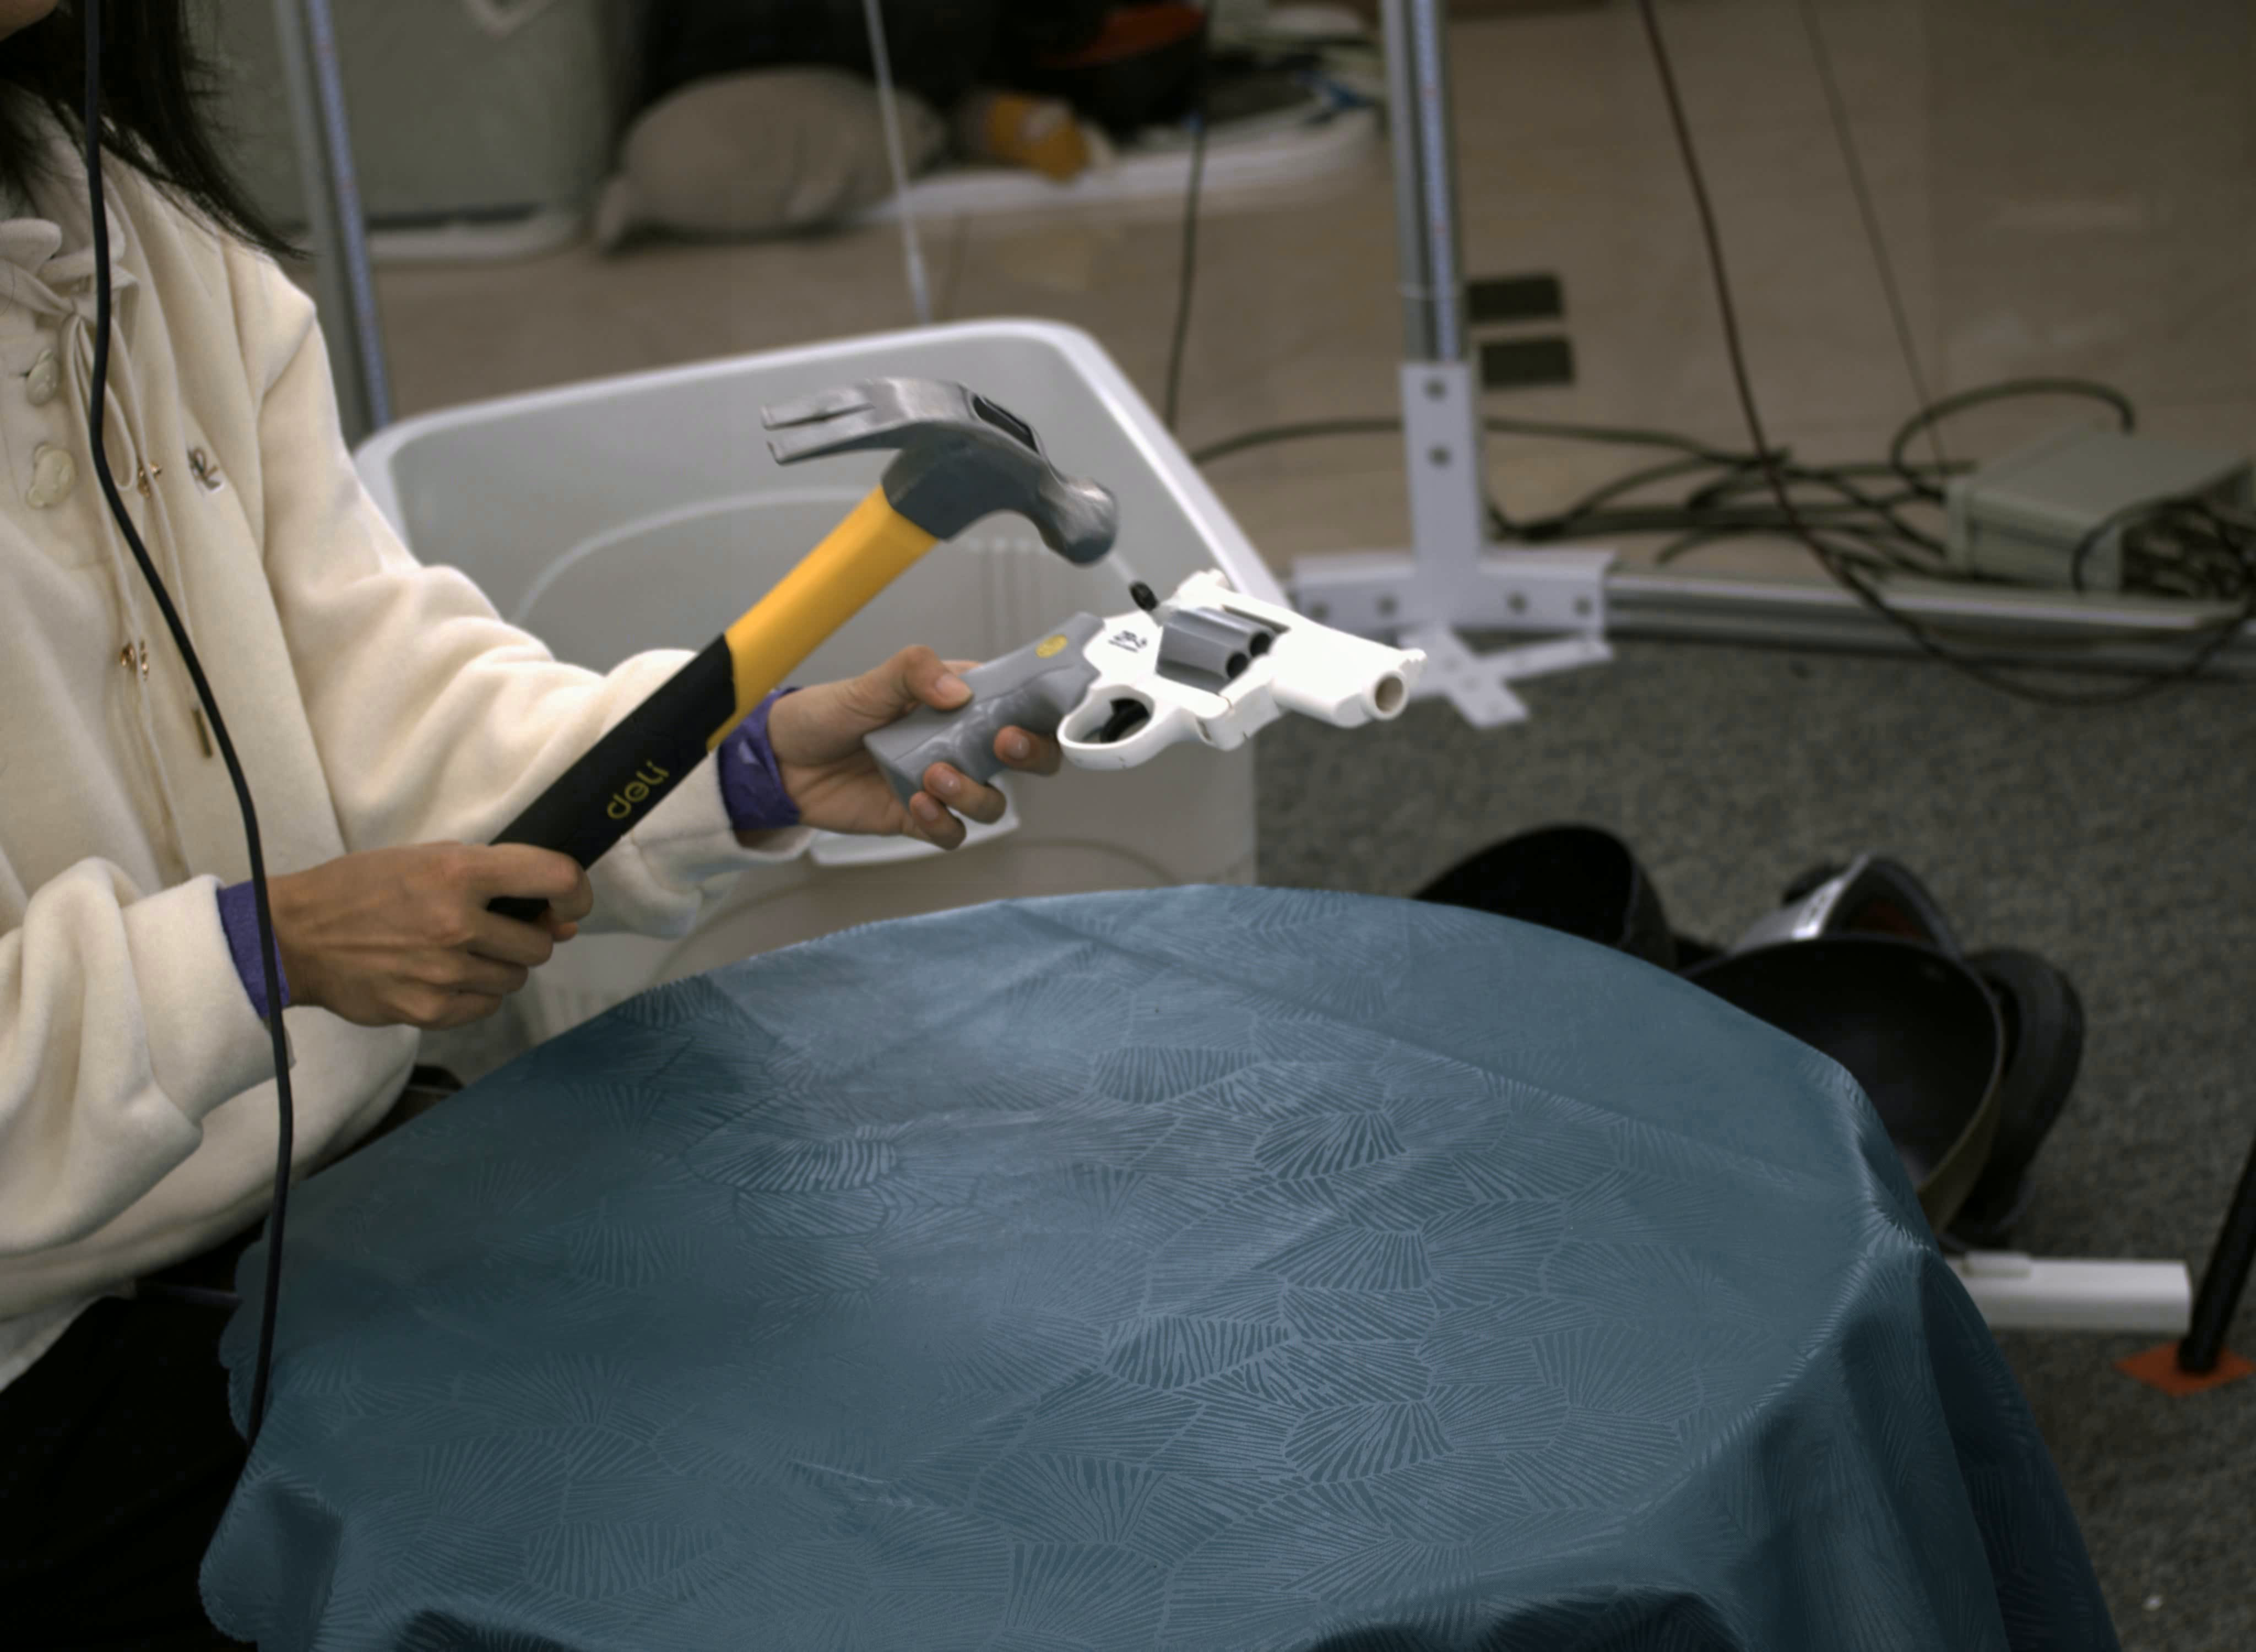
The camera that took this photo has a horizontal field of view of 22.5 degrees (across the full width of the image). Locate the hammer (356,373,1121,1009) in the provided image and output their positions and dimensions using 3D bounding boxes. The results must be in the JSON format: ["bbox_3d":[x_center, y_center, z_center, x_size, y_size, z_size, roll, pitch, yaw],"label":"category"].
[{"bbox_3d":[-0.164,-0.045,2.084,0.341,0.132,0.031,-41,42,22],"label":"hammer"}]

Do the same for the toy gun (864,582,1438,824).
[{"bbox_3d":[0.005,-0.041,2.131,0.140,0.039,0.207,-40,32,-23],"label":"toy gun"}]
